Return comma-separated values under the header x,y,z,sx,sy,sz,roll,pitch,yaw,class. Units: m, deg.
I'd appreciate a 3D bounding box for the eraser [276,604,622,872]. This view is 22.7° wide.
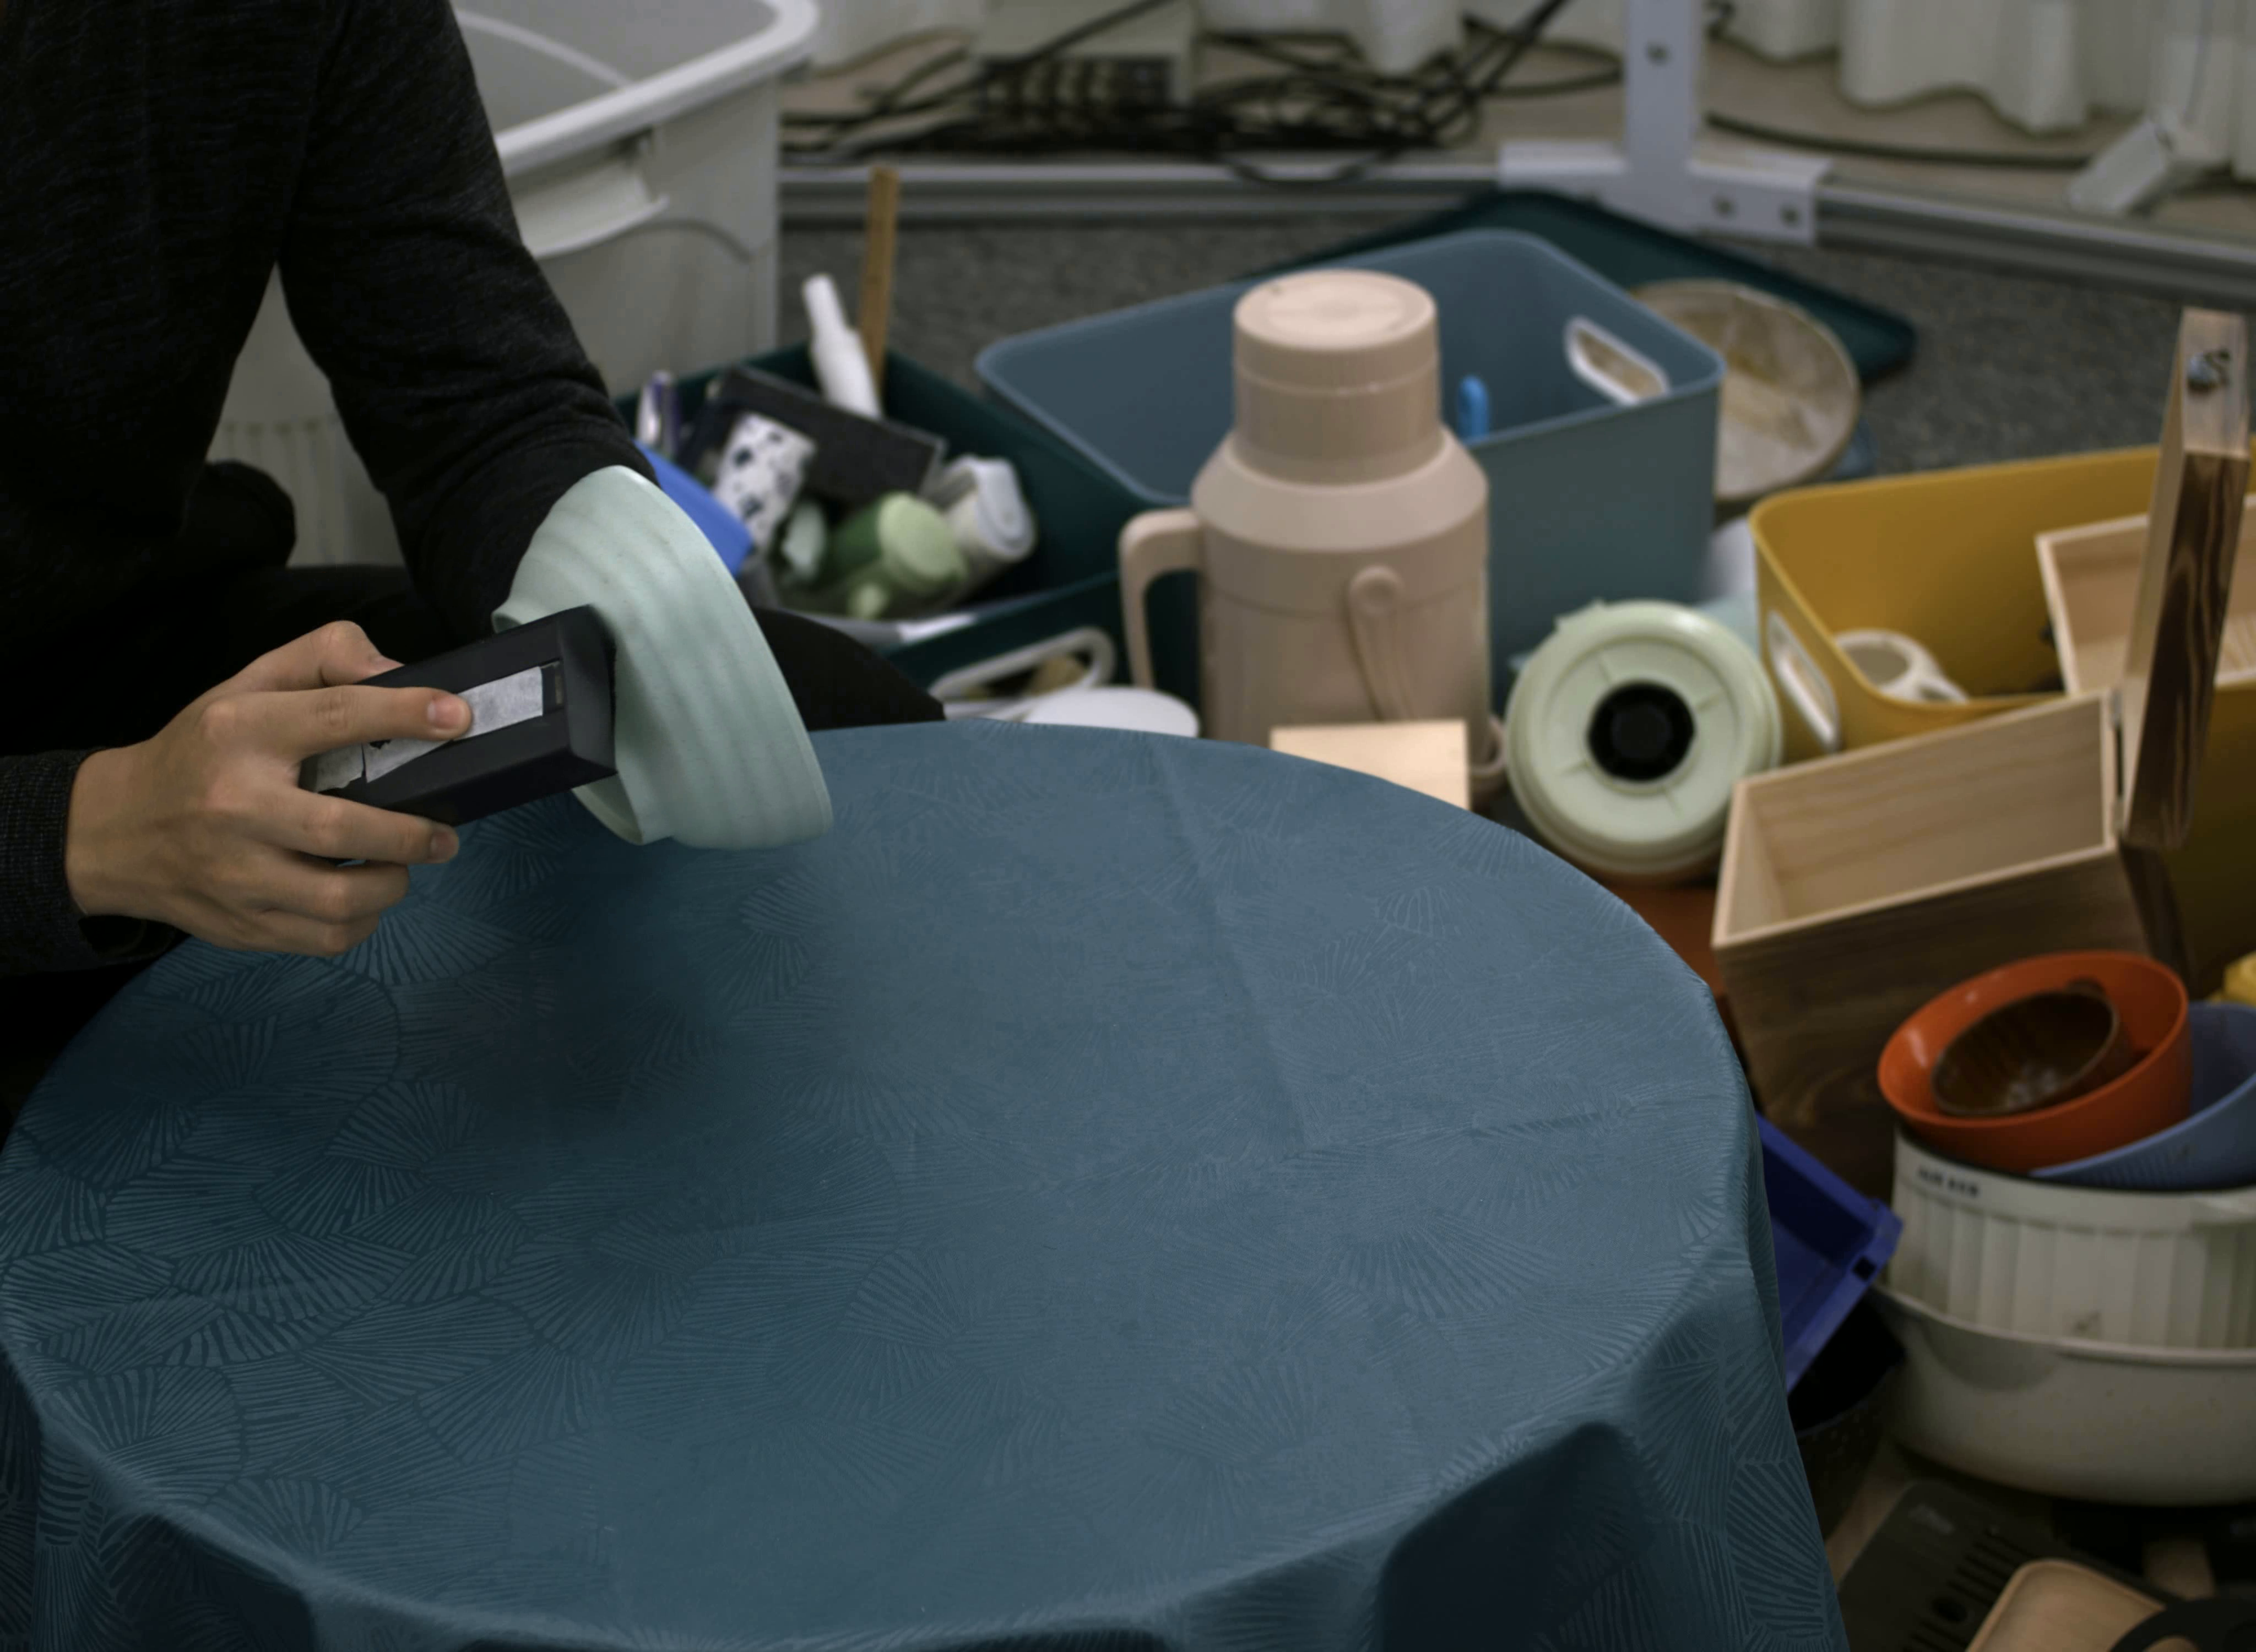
x,y,z,sx,sy,sz,roll,pitch,yaw,class
-0.220,-0.028,1.823,0.124,0.054,0.030,-19,-25,27,eraser

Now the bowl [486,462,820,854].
x,y,z,sx,sy,sz,roll,pitch,yaw,class
-0.165,-0.046,1.876,0.059,0.150,0.152,-29,34,-15,bowl
